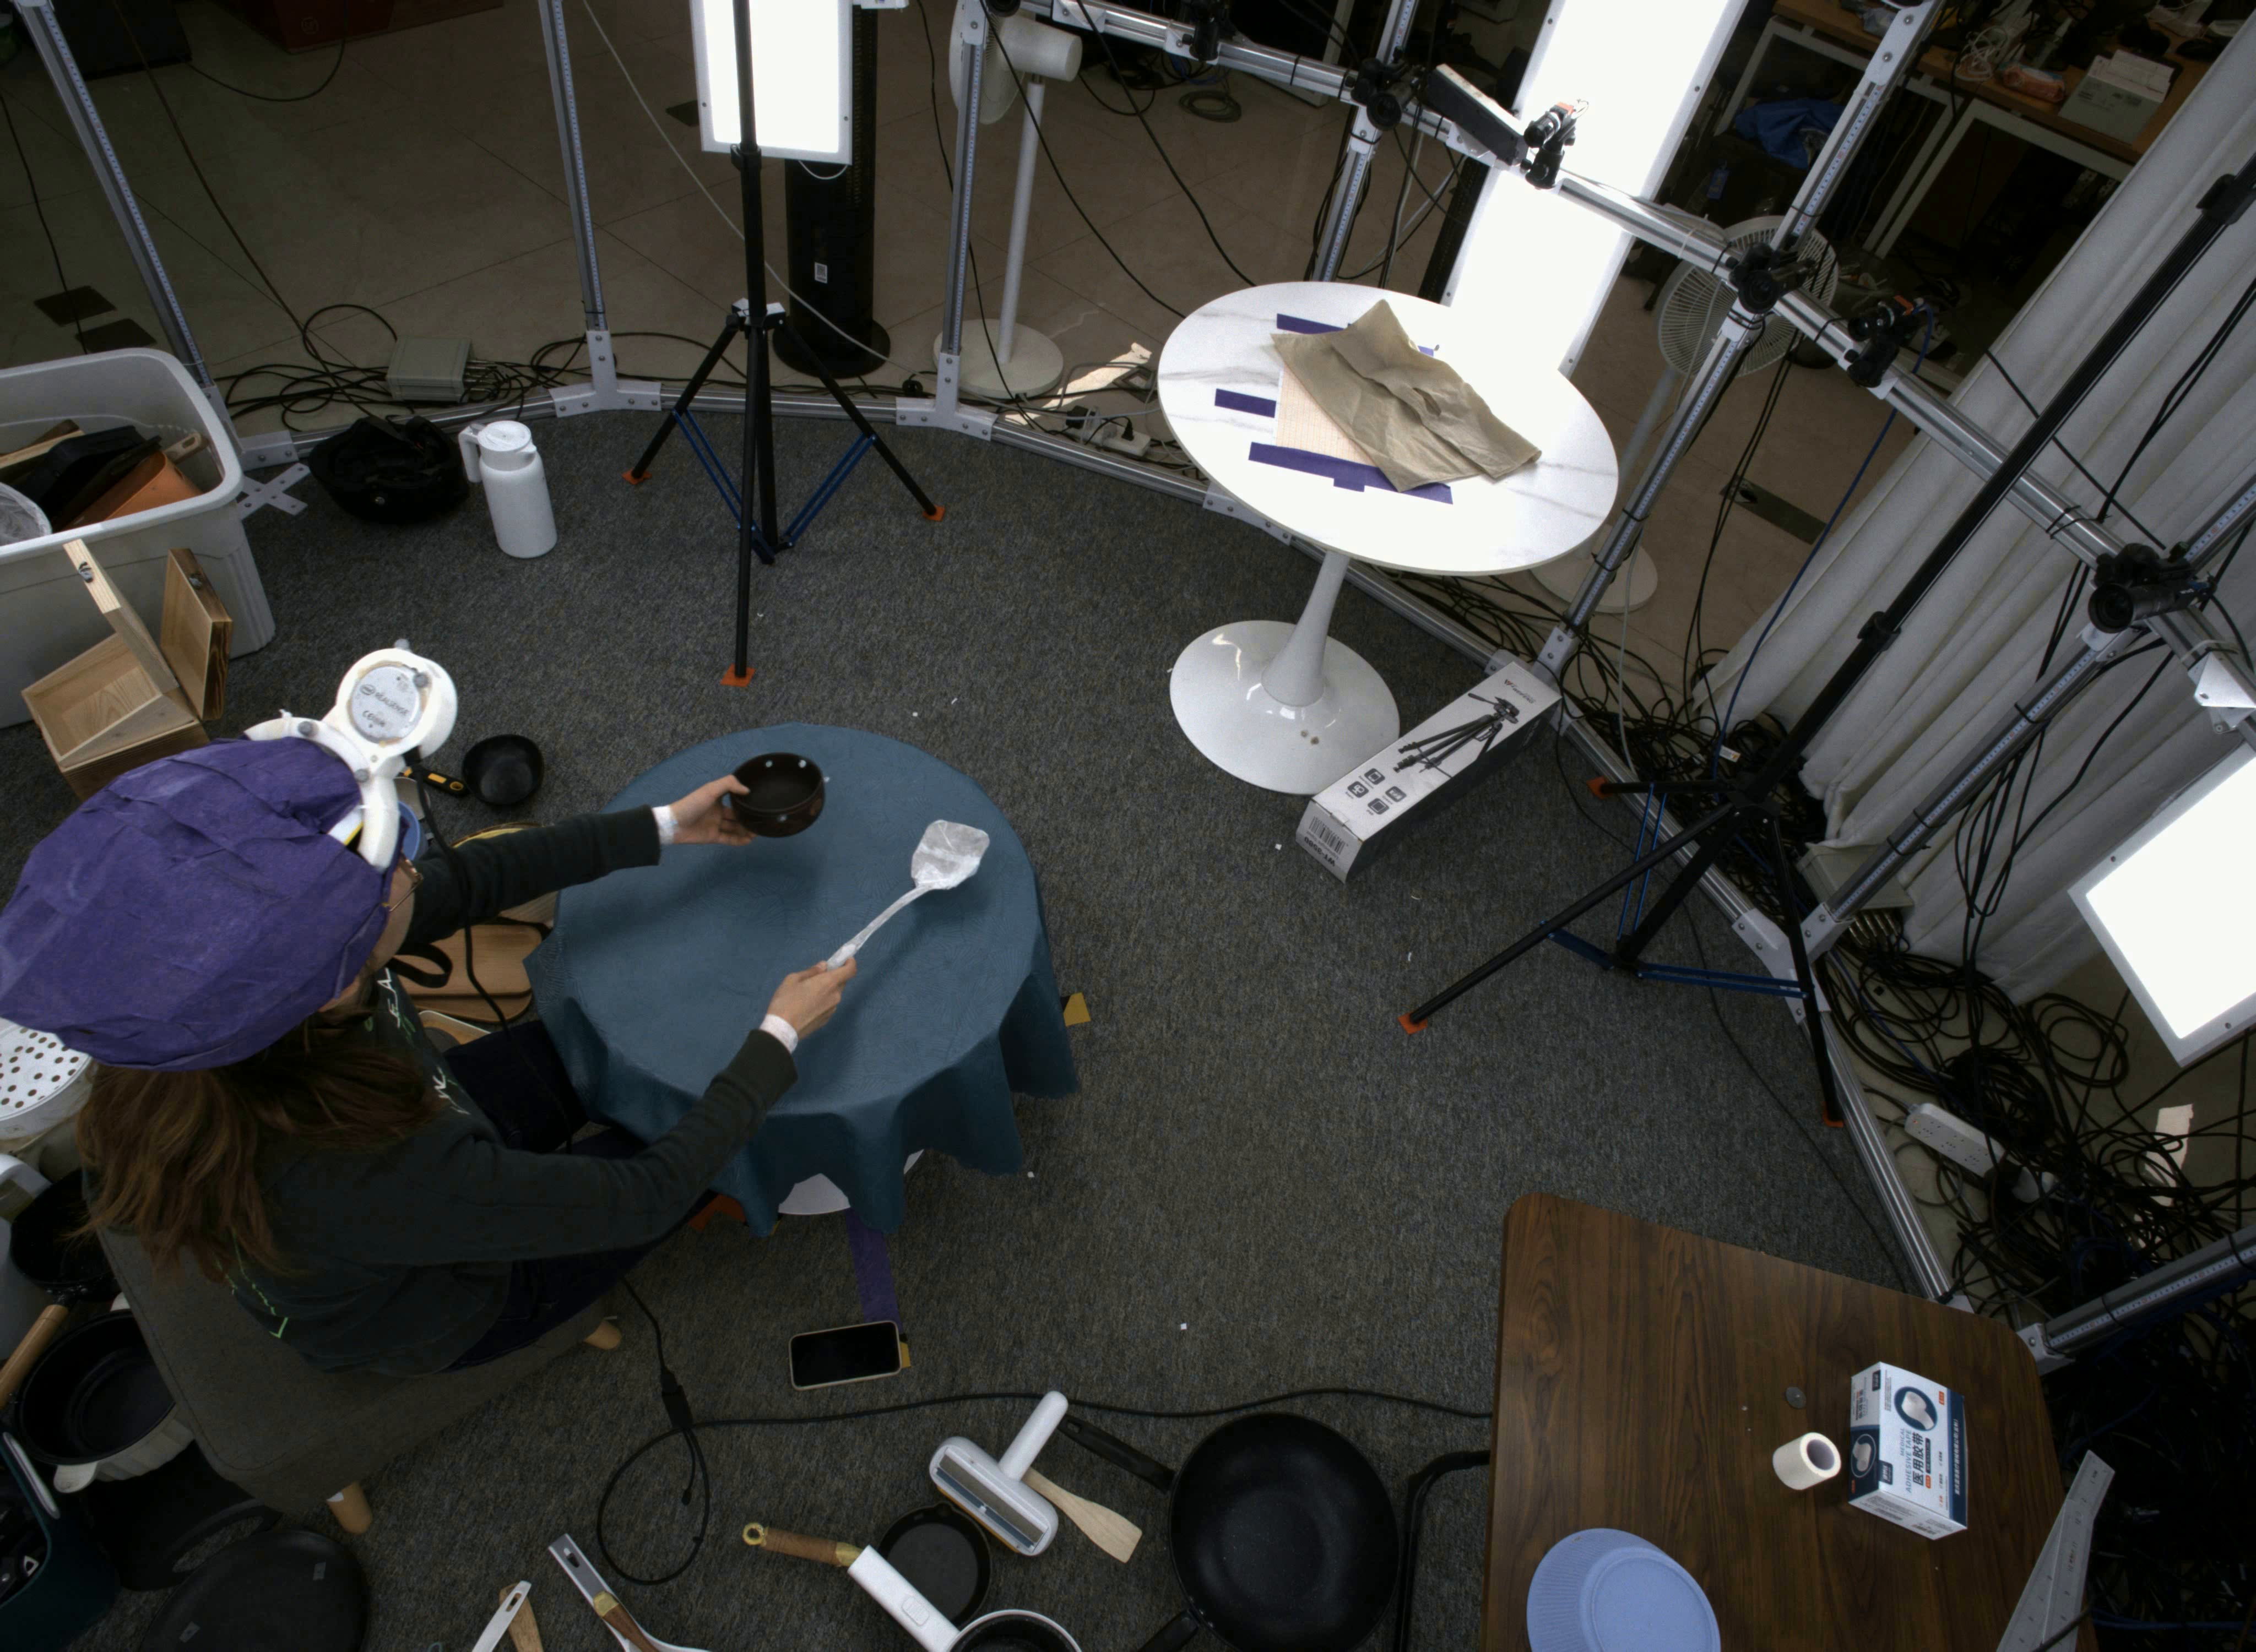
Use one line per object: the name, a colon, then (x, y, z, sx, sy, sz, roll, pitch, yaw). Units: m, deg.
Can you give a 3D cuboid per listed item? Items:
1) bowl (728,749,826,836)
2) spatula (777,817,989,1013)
bowl: (-0.435, -0.034, 1.618, 0.117, 0.072, 0.115, 2, 42, 0)
spatula: (-0.304, 0.105, 1.600, 0.095, 0.046, 0.364, 19, 40, 24)
